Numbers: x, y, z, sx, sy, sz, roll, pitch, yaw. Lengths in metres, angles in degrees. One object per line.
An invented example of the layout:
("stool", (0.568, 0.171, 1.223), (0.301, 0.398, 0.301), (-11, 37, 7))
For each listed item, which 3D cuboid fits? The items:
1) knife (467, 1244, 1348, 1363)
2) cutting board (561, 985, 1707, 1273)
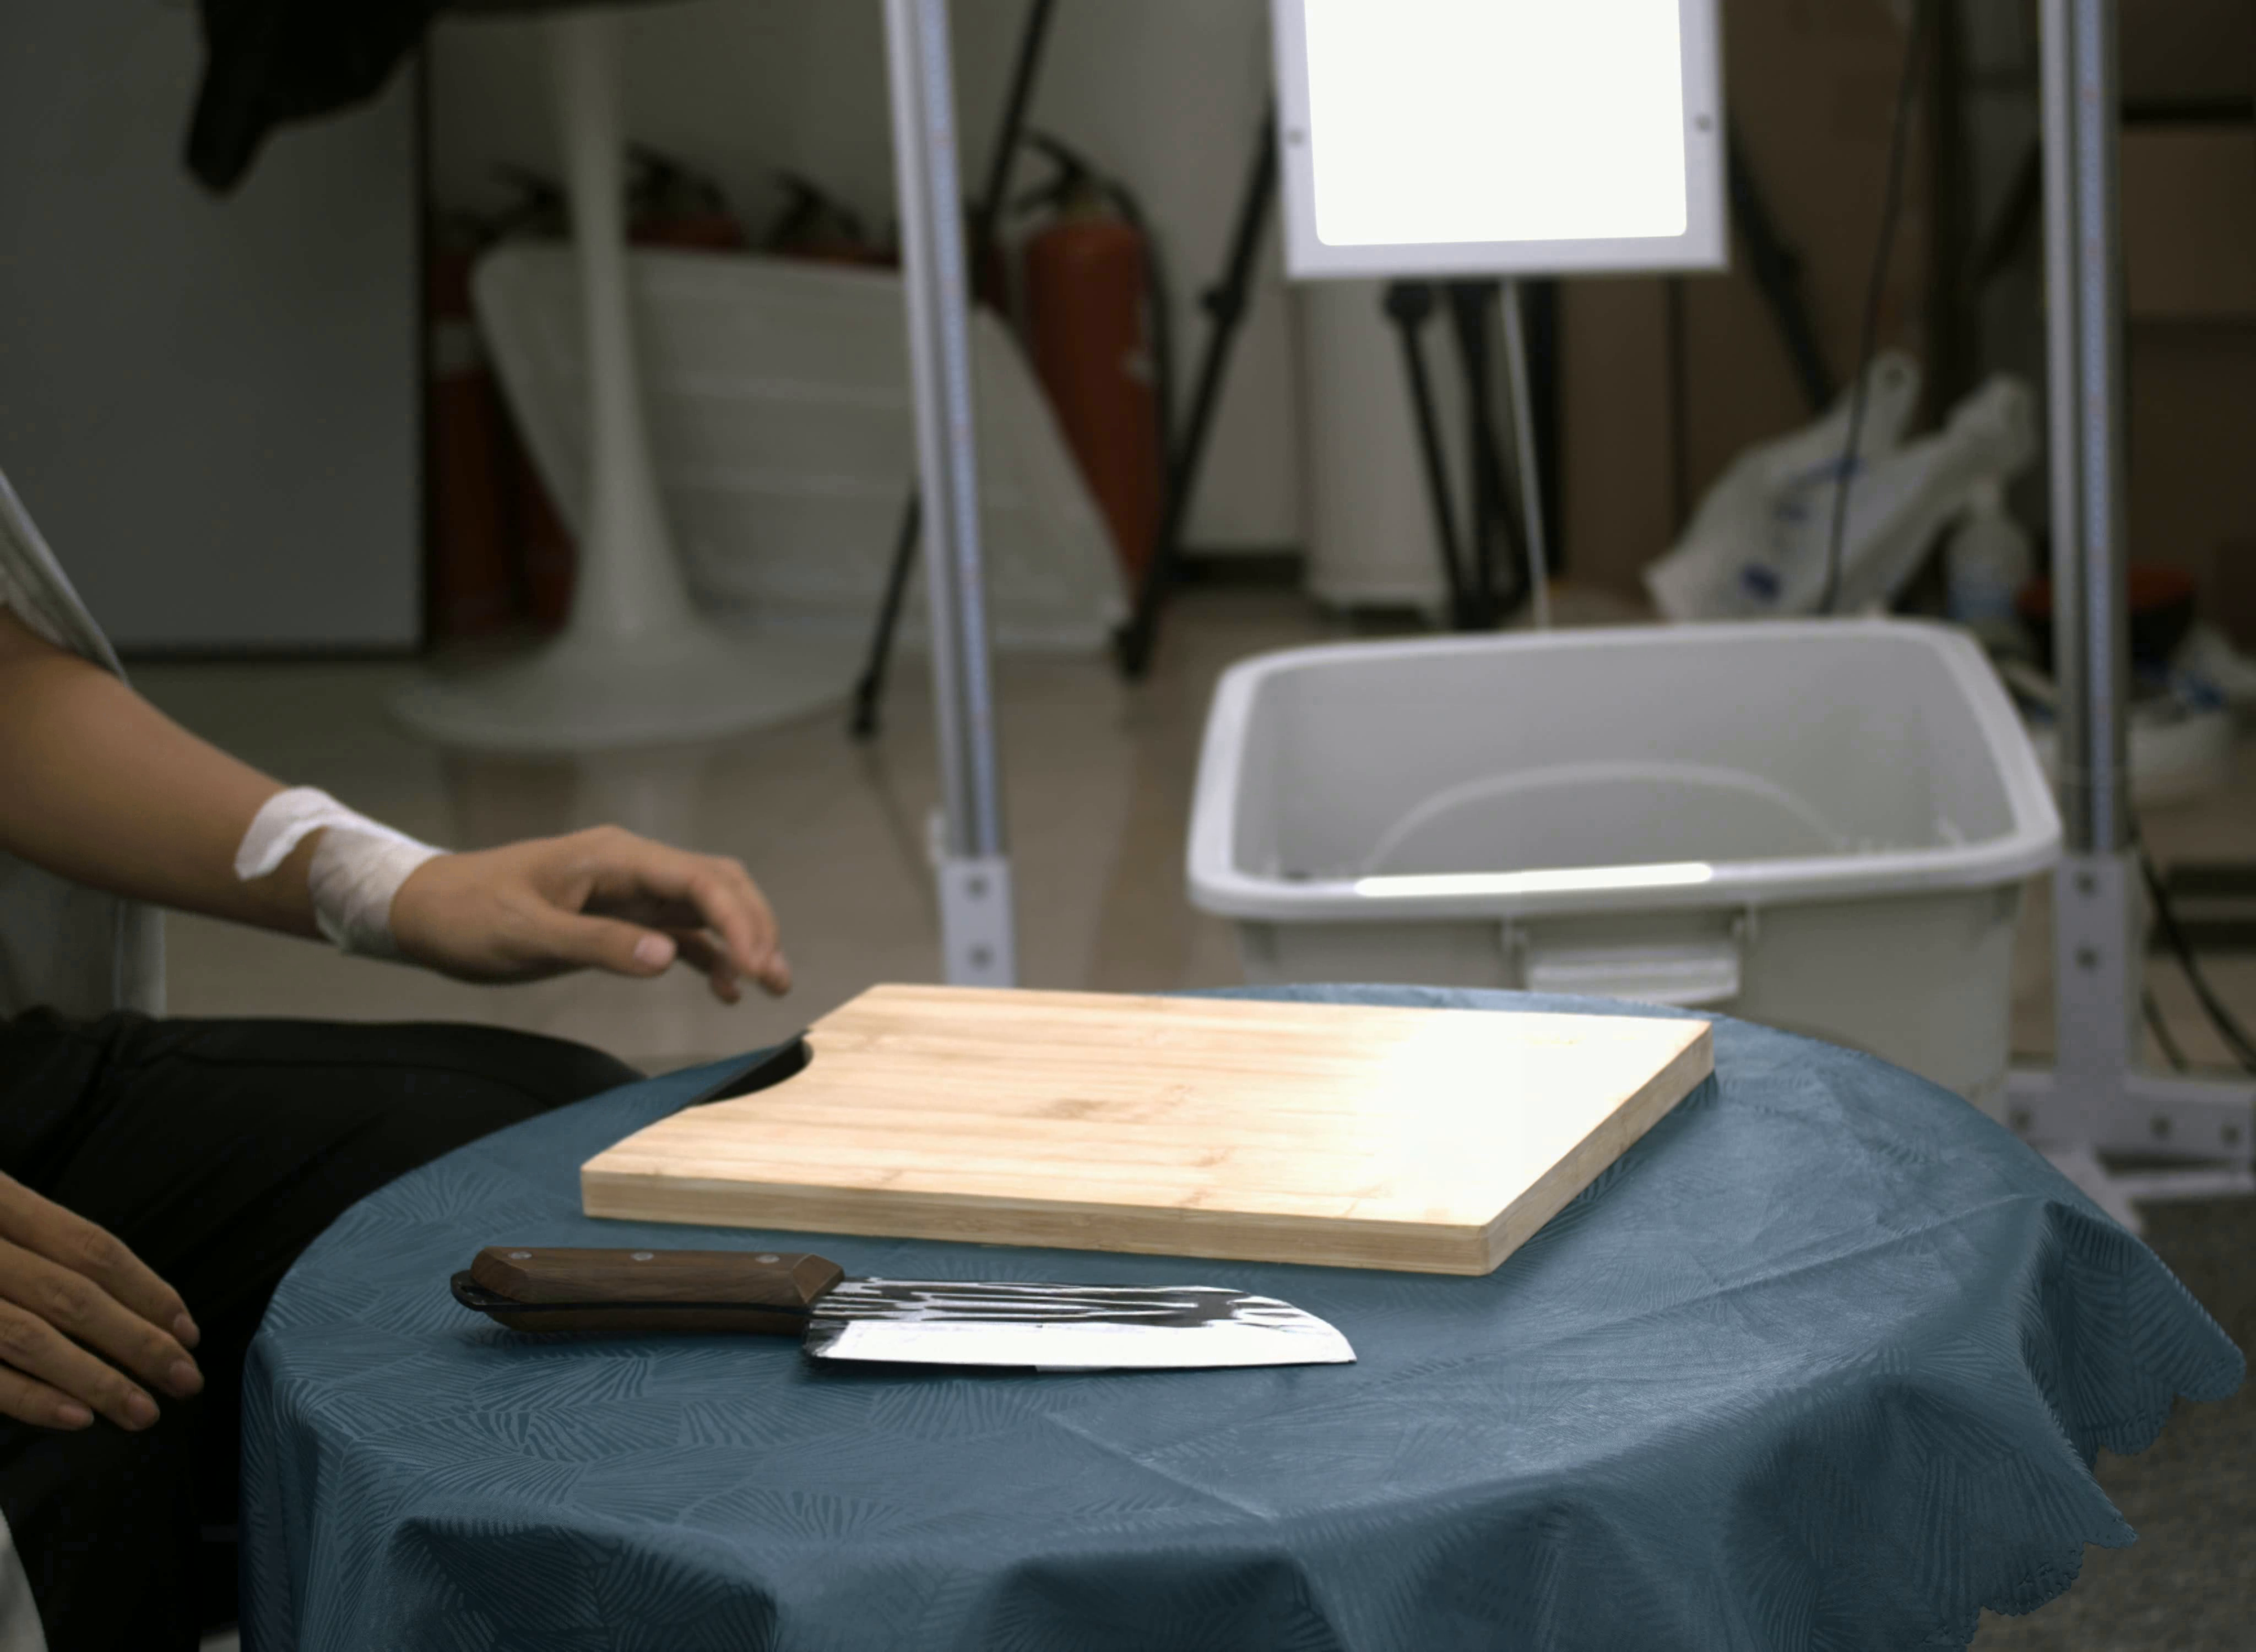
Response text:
("knife", (-0.074, 0.156, 1.760), (0.302, 0.024, 0.067), (1, 16, 13))
("cutting board", (0.006, 0.104, 1.955), (0.354, 0.023, 0.246), (1, 15, 25))
